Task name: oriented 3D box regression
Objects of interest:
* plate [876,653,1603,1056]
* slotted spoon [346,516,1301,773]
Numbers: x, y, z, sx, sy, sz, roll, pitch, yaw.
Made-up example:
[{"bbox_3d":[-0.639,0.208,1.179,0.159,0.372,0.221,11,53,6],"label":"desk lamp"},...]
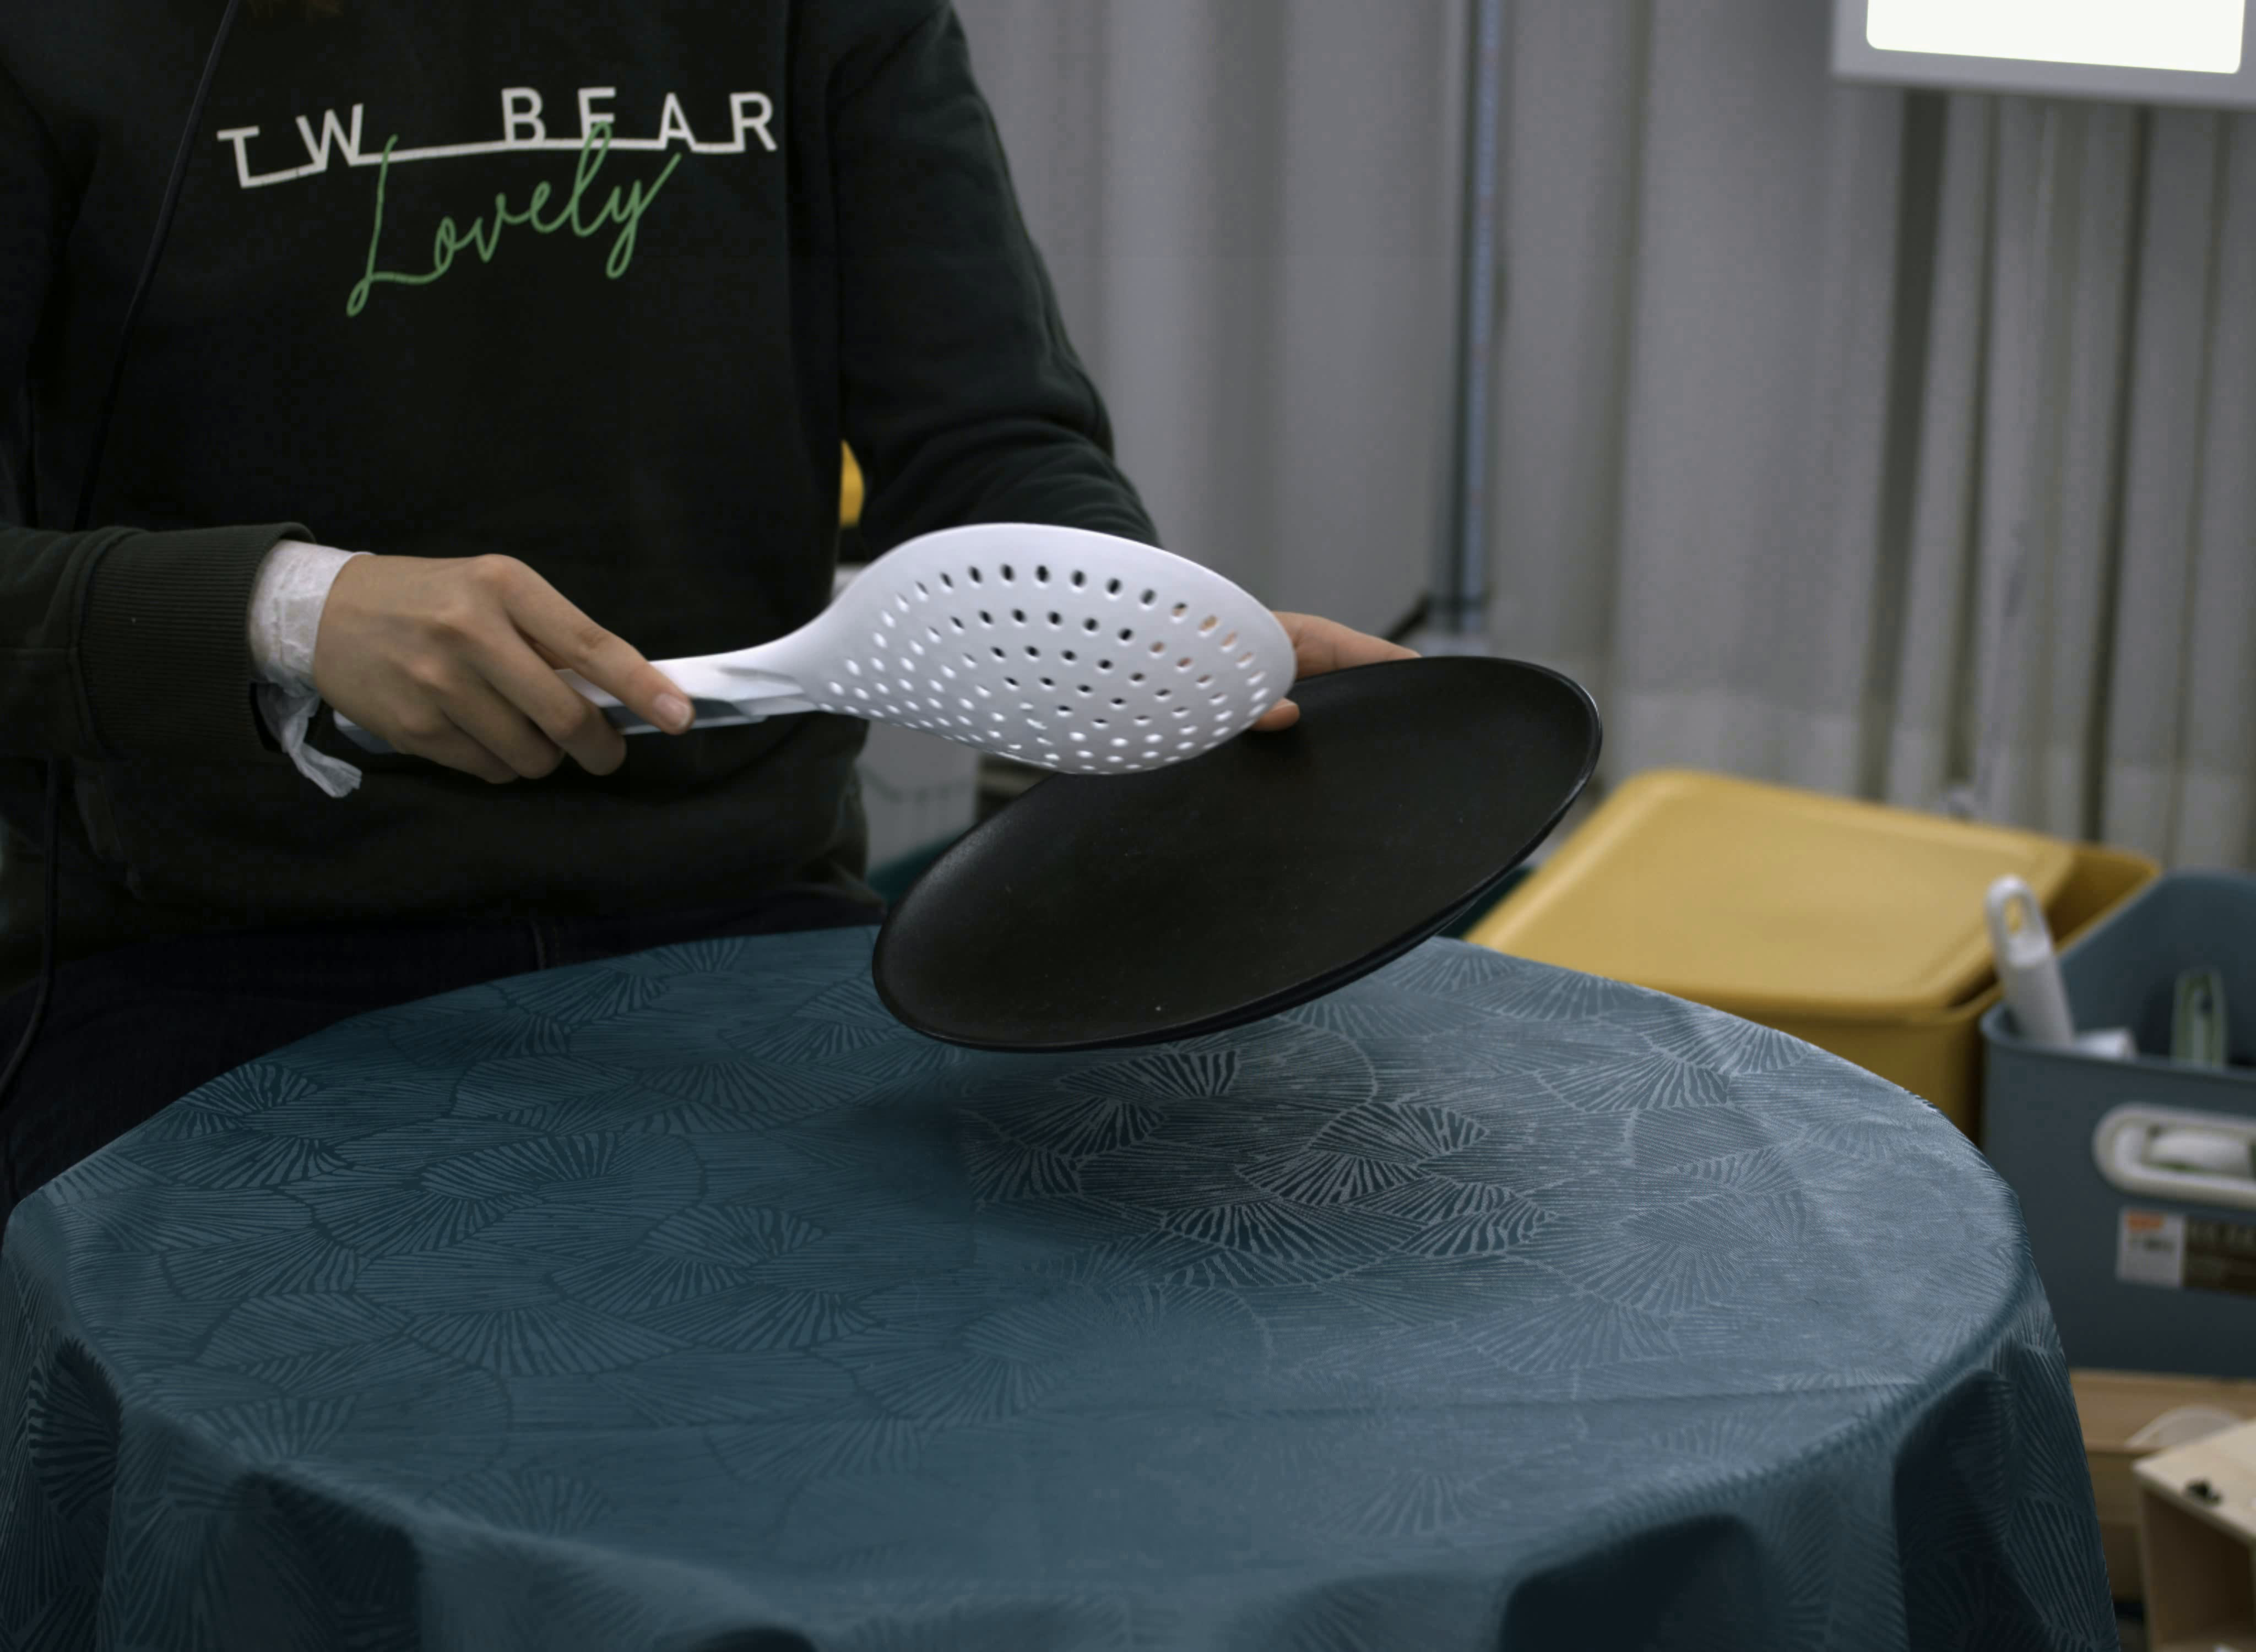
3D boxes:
[{"bbox_3d":[0.037,0.014,1.657,0.243,0.024,0.242,-18,22,9],"label":"plate"},{"bbox_3d":[-0.107,-0.047,1.683,0.346,0.045,0.138,0,-27,31],"label":"slotted spoon"}]
